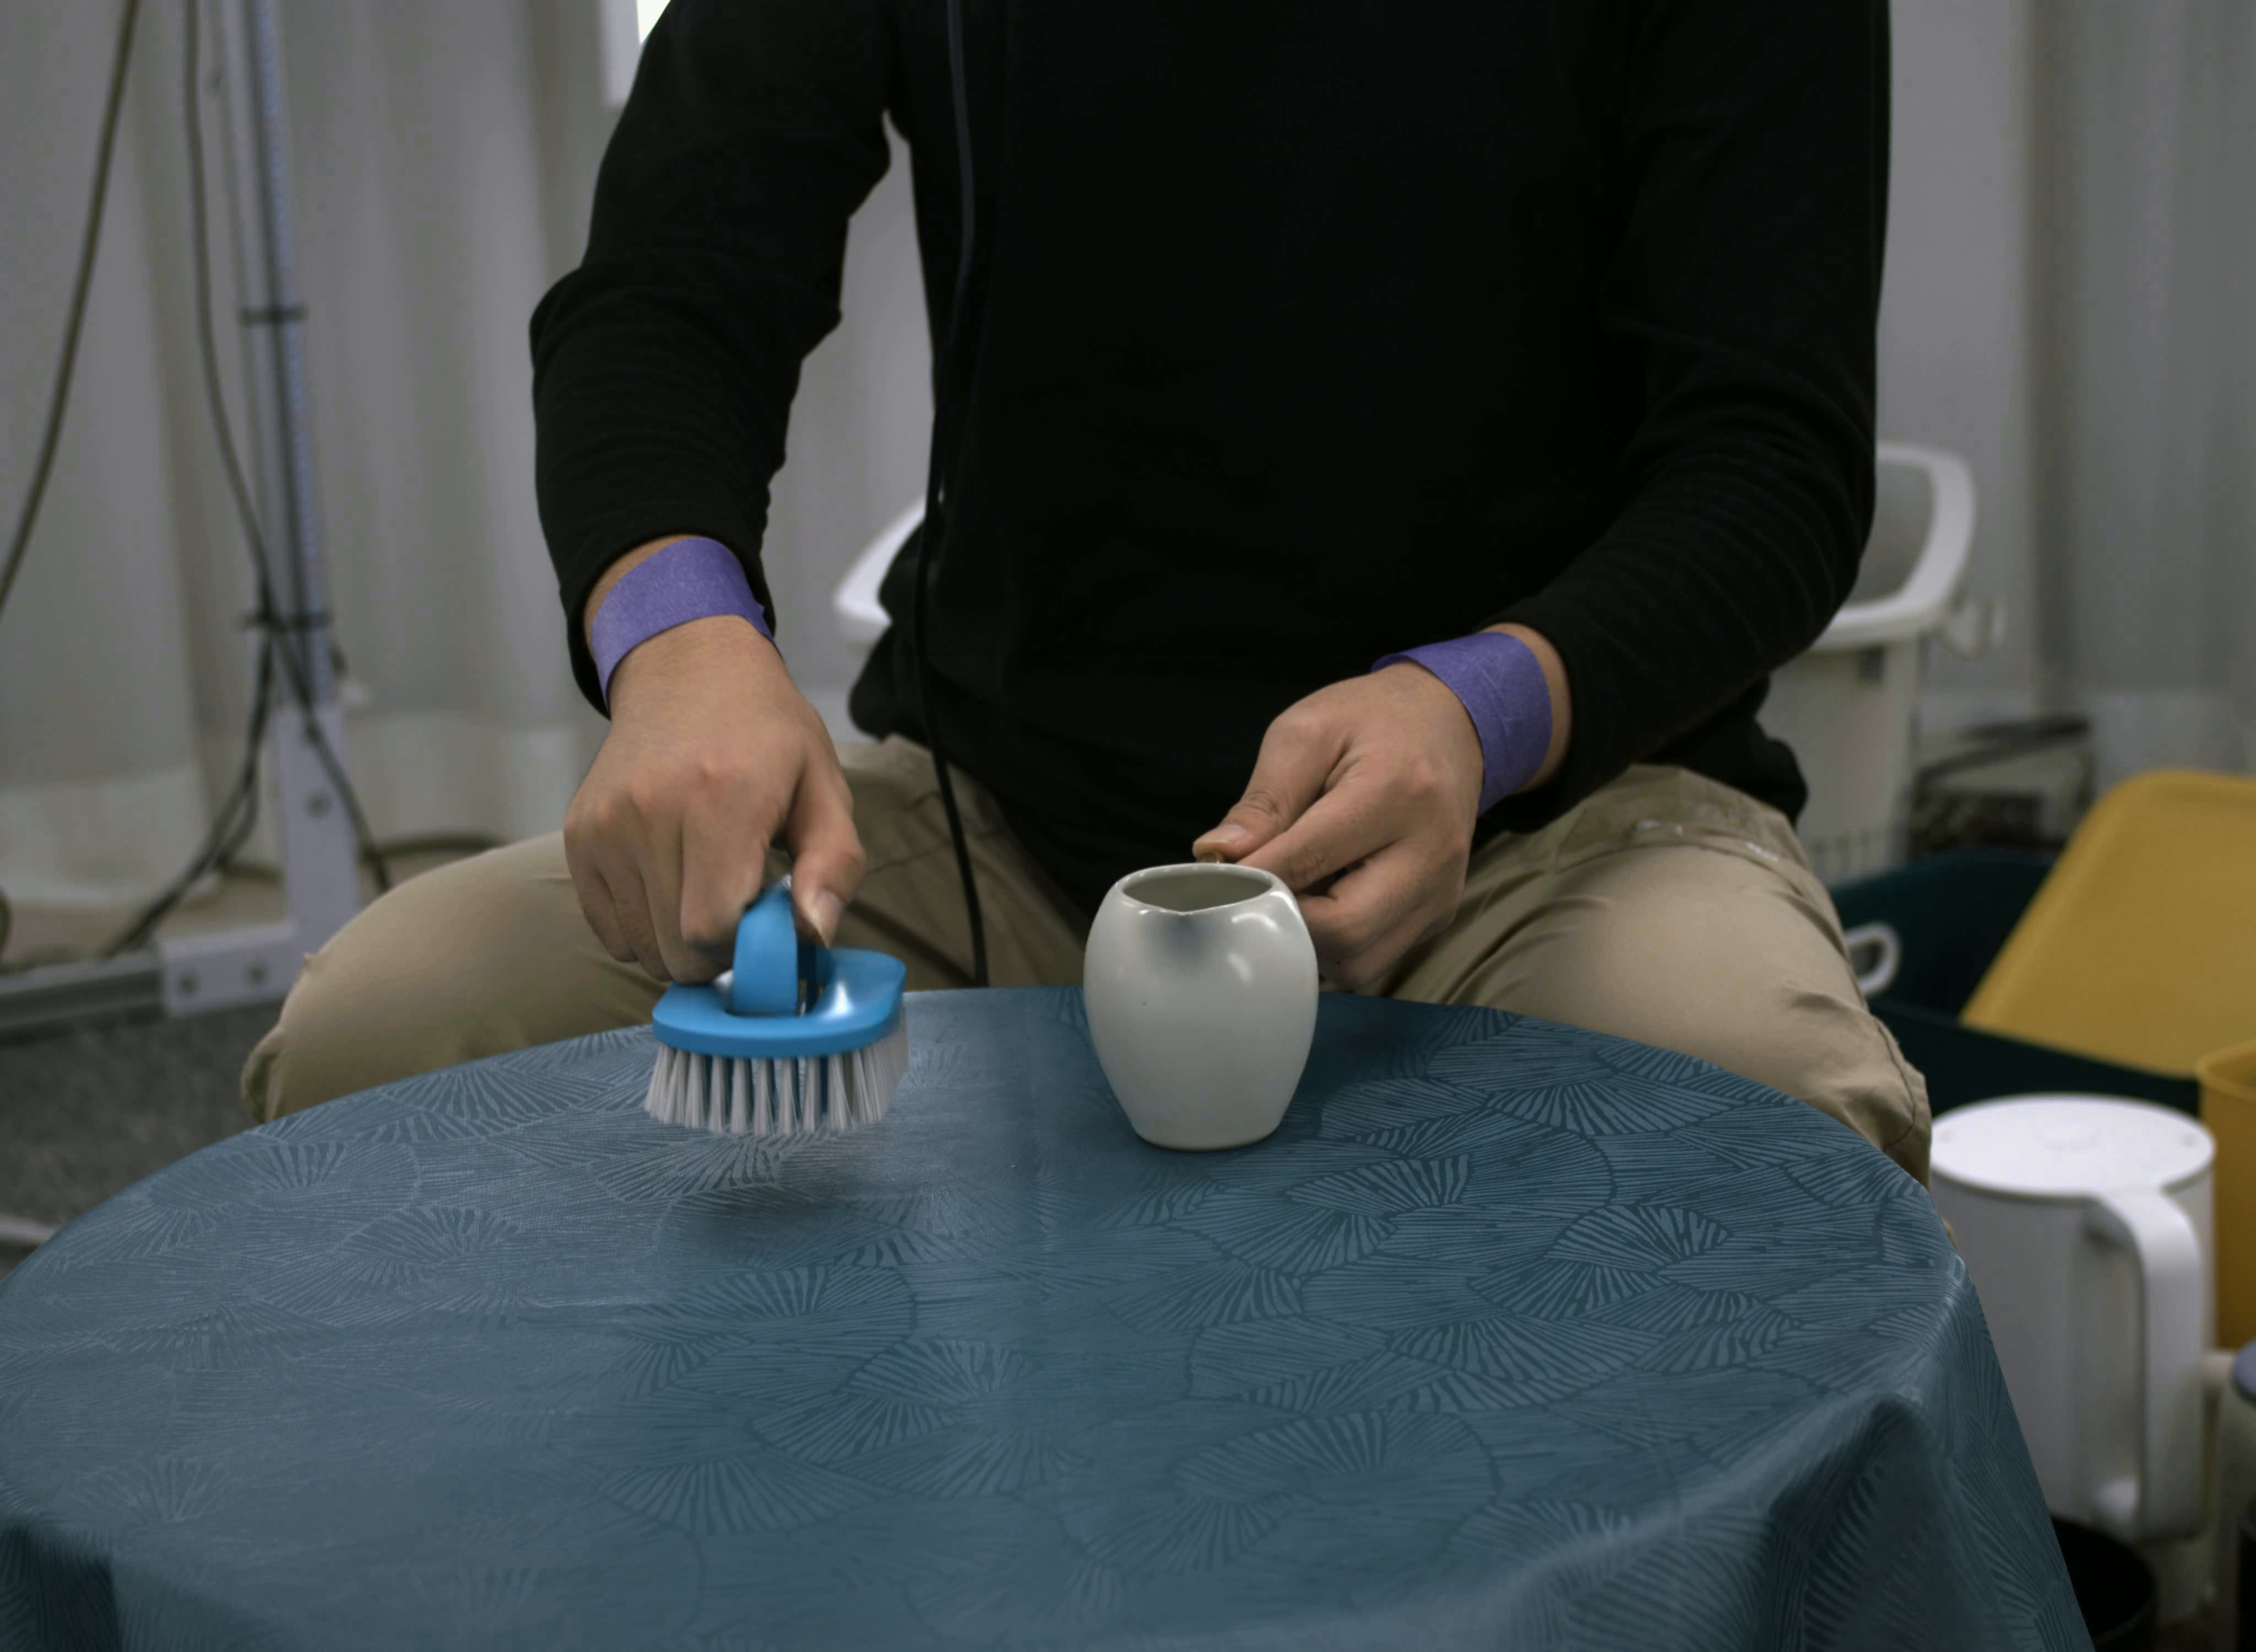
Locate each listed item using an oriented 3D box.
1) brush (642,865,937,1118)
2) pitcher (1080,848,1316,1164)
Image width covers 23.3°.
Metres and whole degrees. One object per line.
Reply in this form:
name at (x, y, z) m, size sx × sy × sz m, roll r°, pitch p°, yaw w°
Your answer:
brush at (-0.108, 0.049, 1.745) m, size 0.084 × 0.064 × 0.142 m, roll -3°, pitch 9°, yaw 7°
pitcher at (0.024, 0.057, 1.758) m, size 0.076 × 0.087 × 0.120 m, roll 5°, pitch 19°, yaw 8°
